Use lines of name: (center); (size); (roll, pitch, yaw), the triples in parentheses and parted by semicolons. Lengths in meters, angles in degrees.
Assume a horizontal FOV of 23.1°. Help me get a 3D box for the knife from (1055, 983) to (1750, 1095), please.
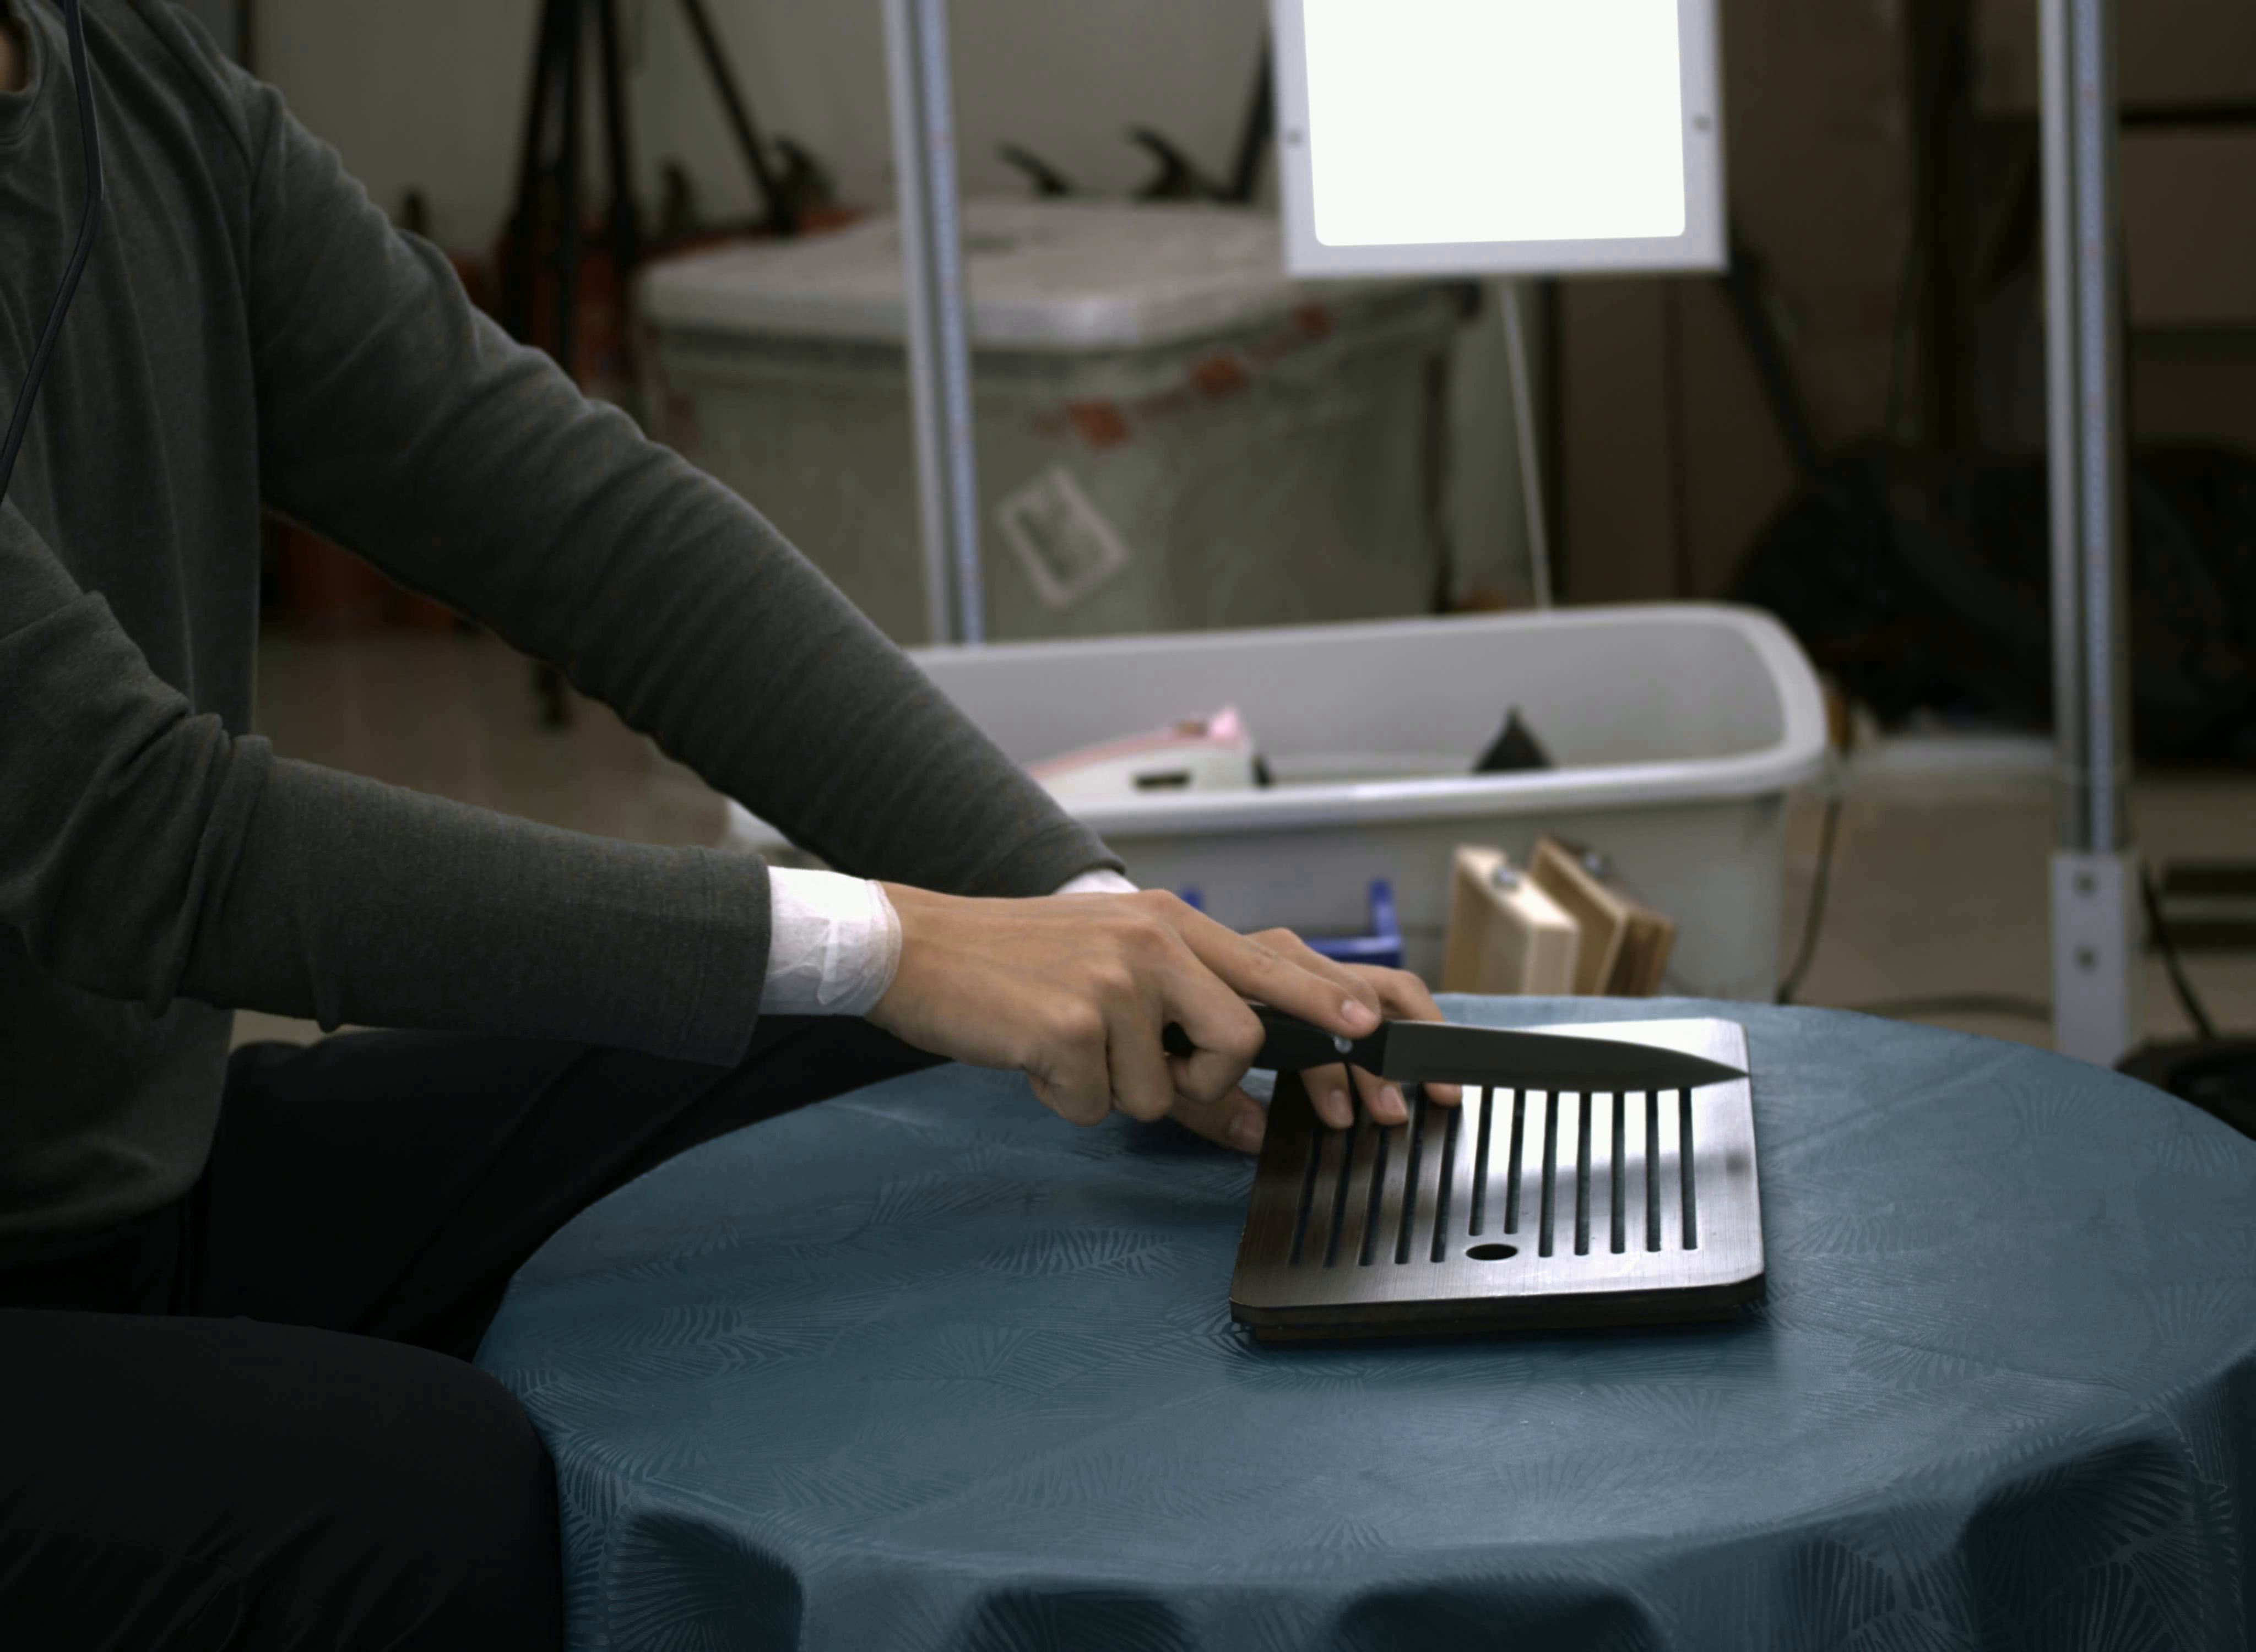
knife: (0.094, 0.072, 1.869); (0.238, 0.024, 0.016); (6, 9, 4)

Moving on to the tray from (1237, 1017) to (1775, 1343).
tray: (0.131, 0.117, 1.856); (0.171, 0.019, 0.303); (-4, 13, 7)
